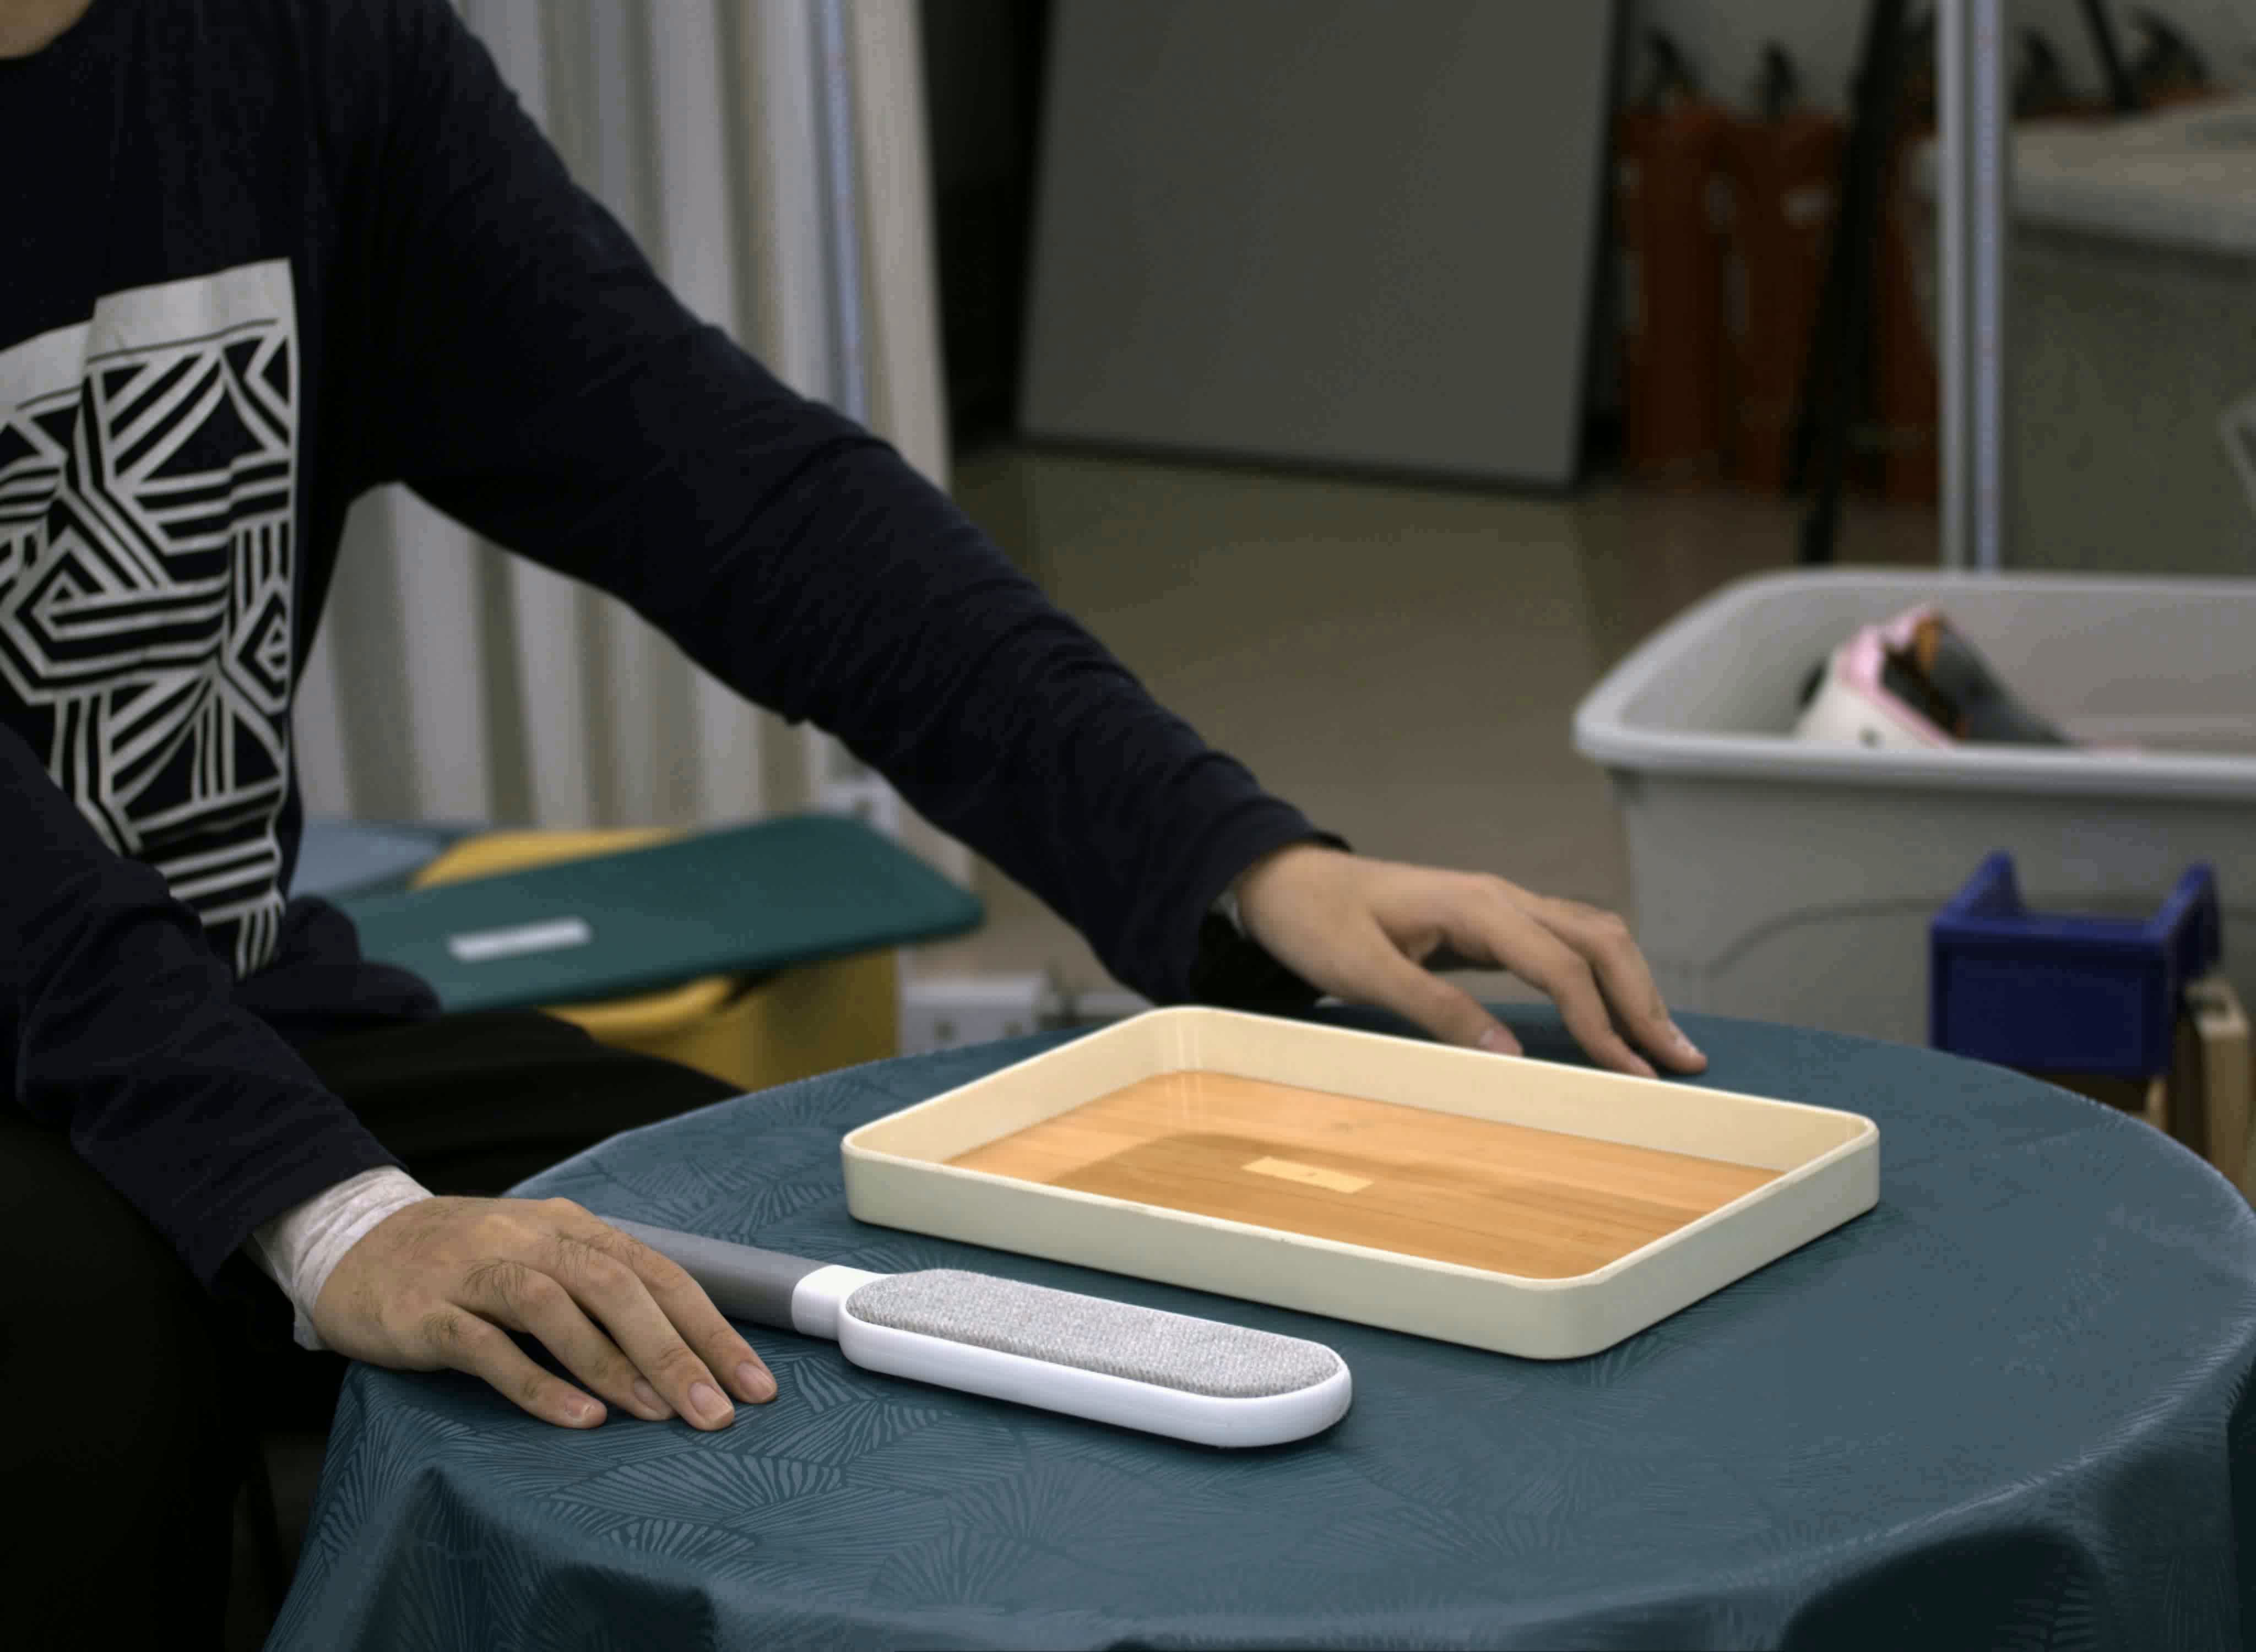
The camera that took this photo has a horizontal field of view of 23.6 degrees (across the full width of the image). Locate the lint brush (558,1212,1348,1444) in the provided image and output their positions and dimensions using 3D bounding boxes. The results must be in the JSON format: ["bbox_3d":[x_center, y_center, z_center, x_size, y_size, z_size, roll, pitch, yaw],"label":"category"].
[{"bbox_3d":[-0.060,0.147,1.628,0.311,0.021,0.059,7,23,40],"label":"lint brush"}]

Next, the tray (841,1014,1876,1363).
[{"bbox_3d":[0.072,0.112,1.735,0.303,0.028,0.188,7,18,41],"label":"tray"}]
